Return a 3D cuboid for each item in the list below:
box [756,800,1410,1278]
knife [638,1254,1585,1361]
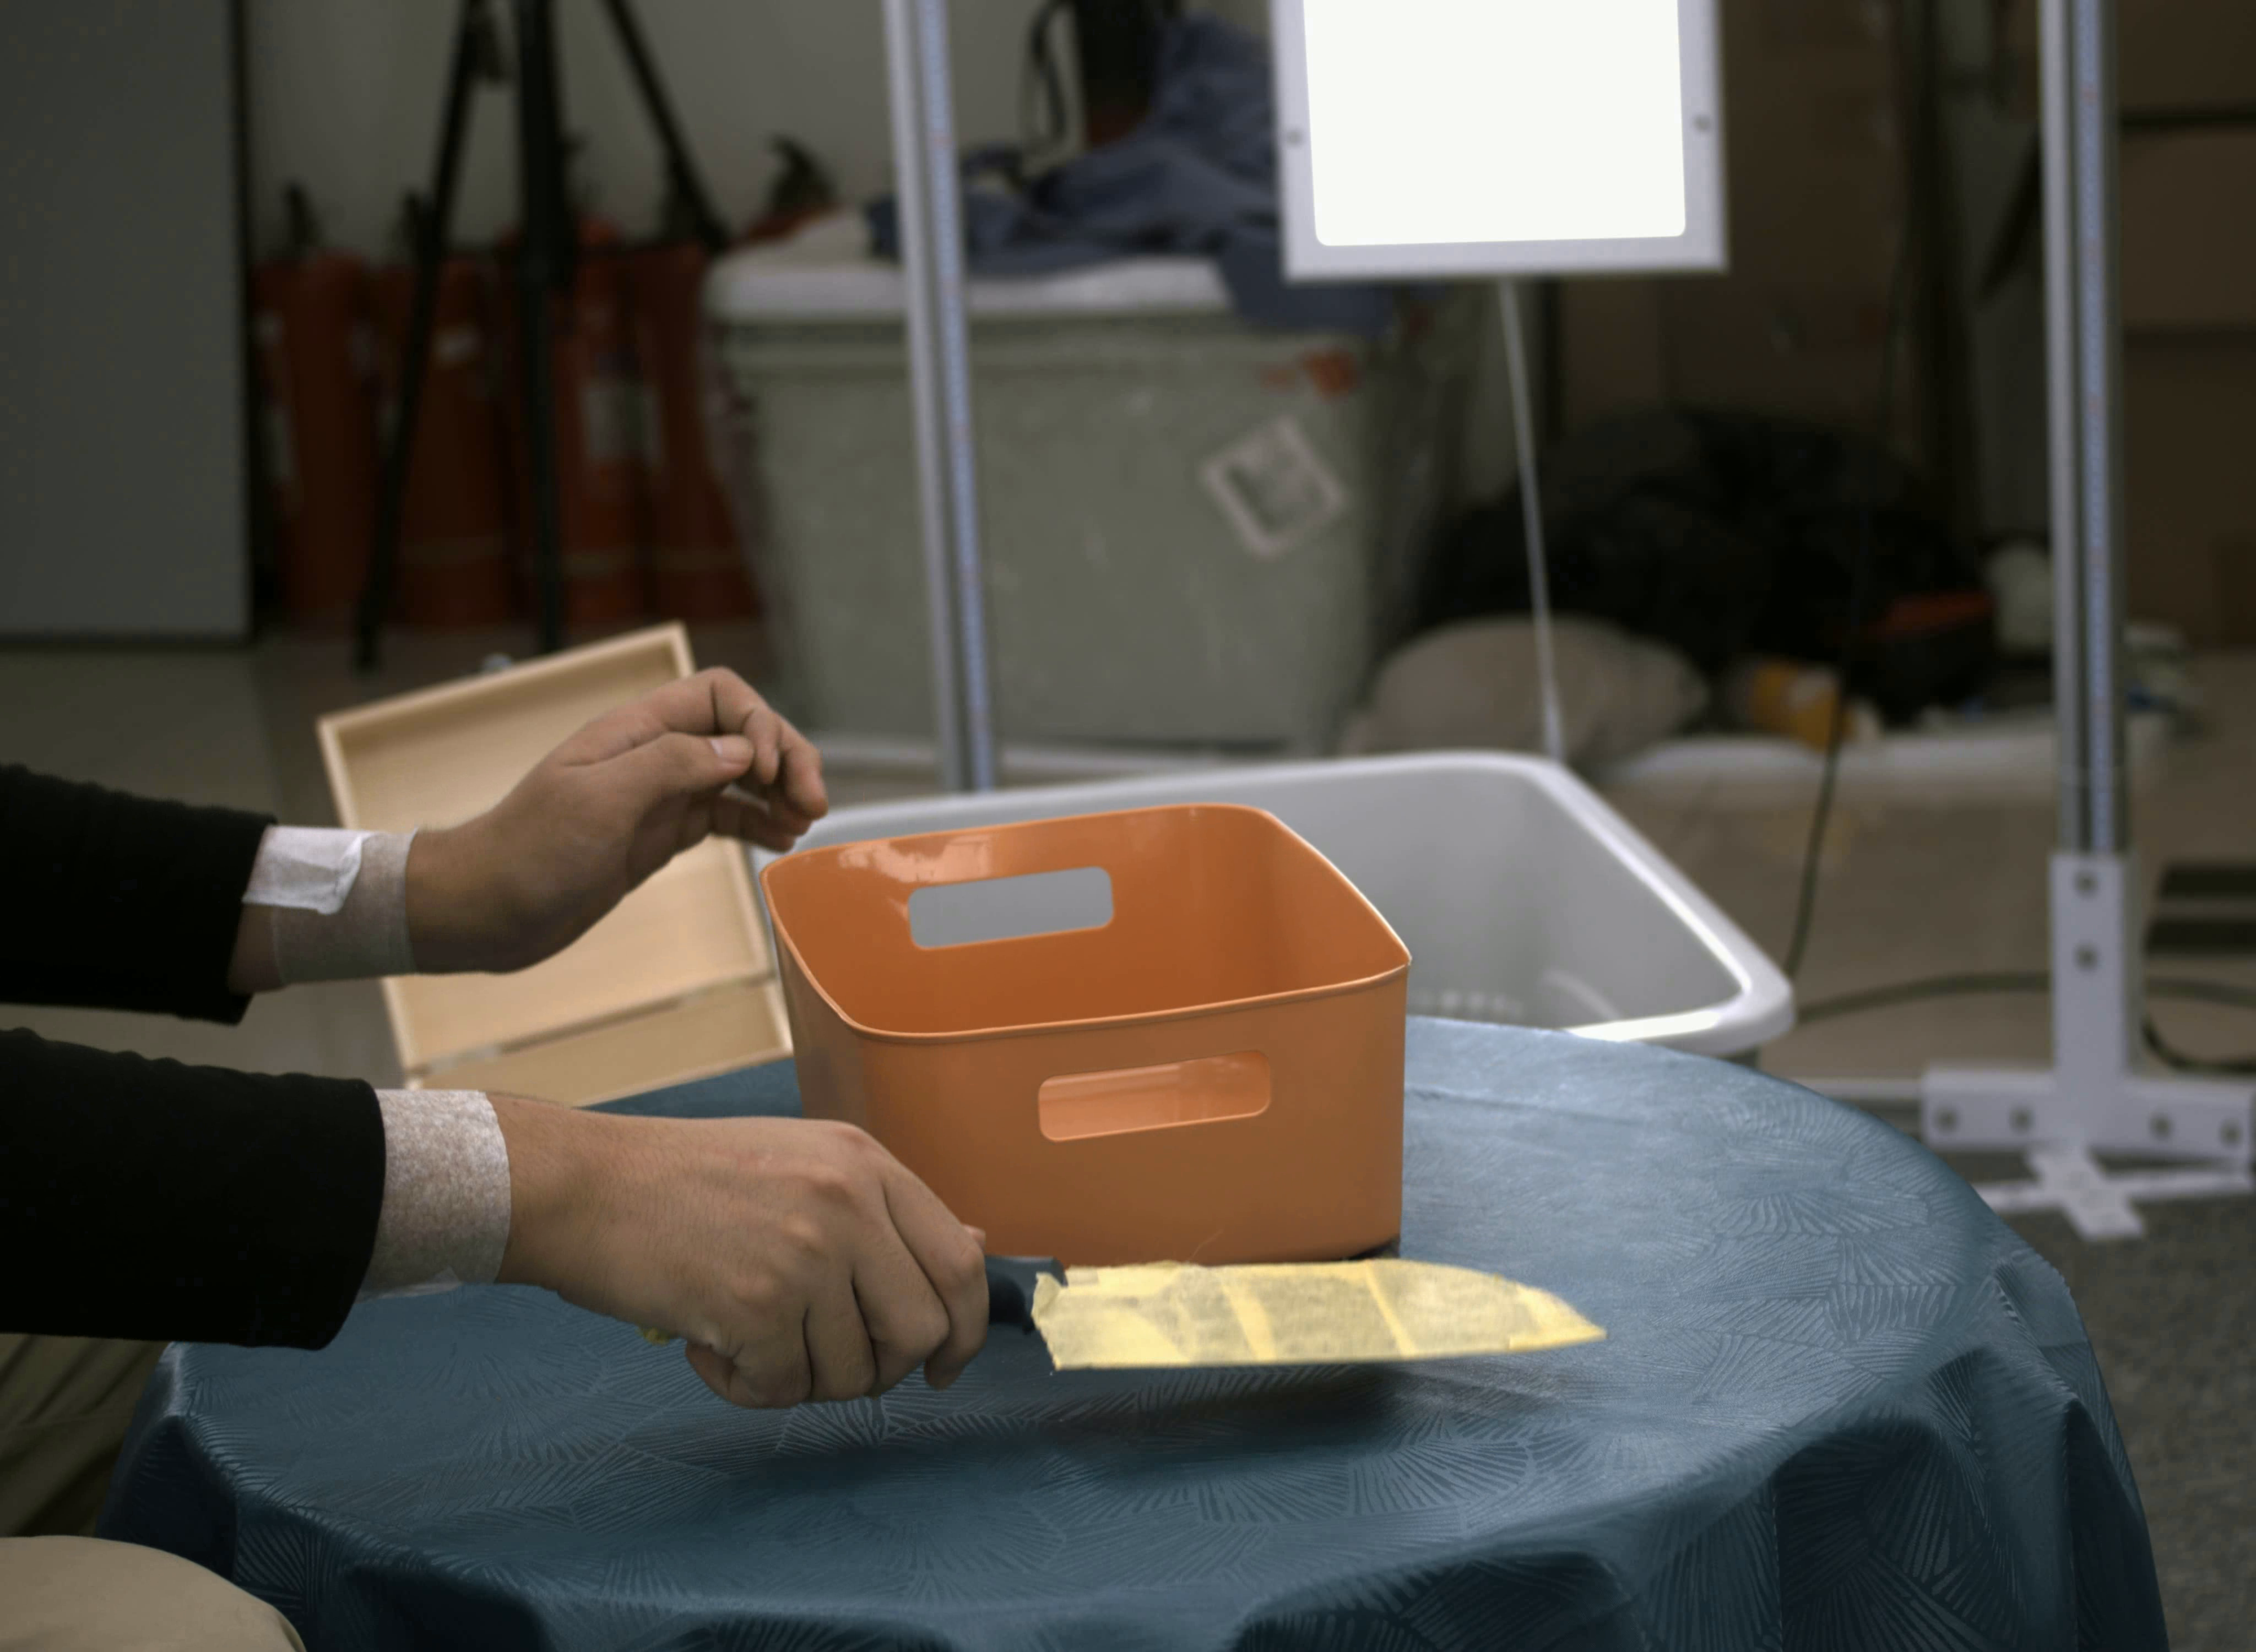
[{"bbox_3d":[-0.018,0.076,1.894,0.197,0.103,0.275,-7,14,-9],"label":"box"},{"bbox_3d":[-0.003,0.147,1.668,0.288,0.027,0.081,-2,14,-3],"label":"knife"}]
